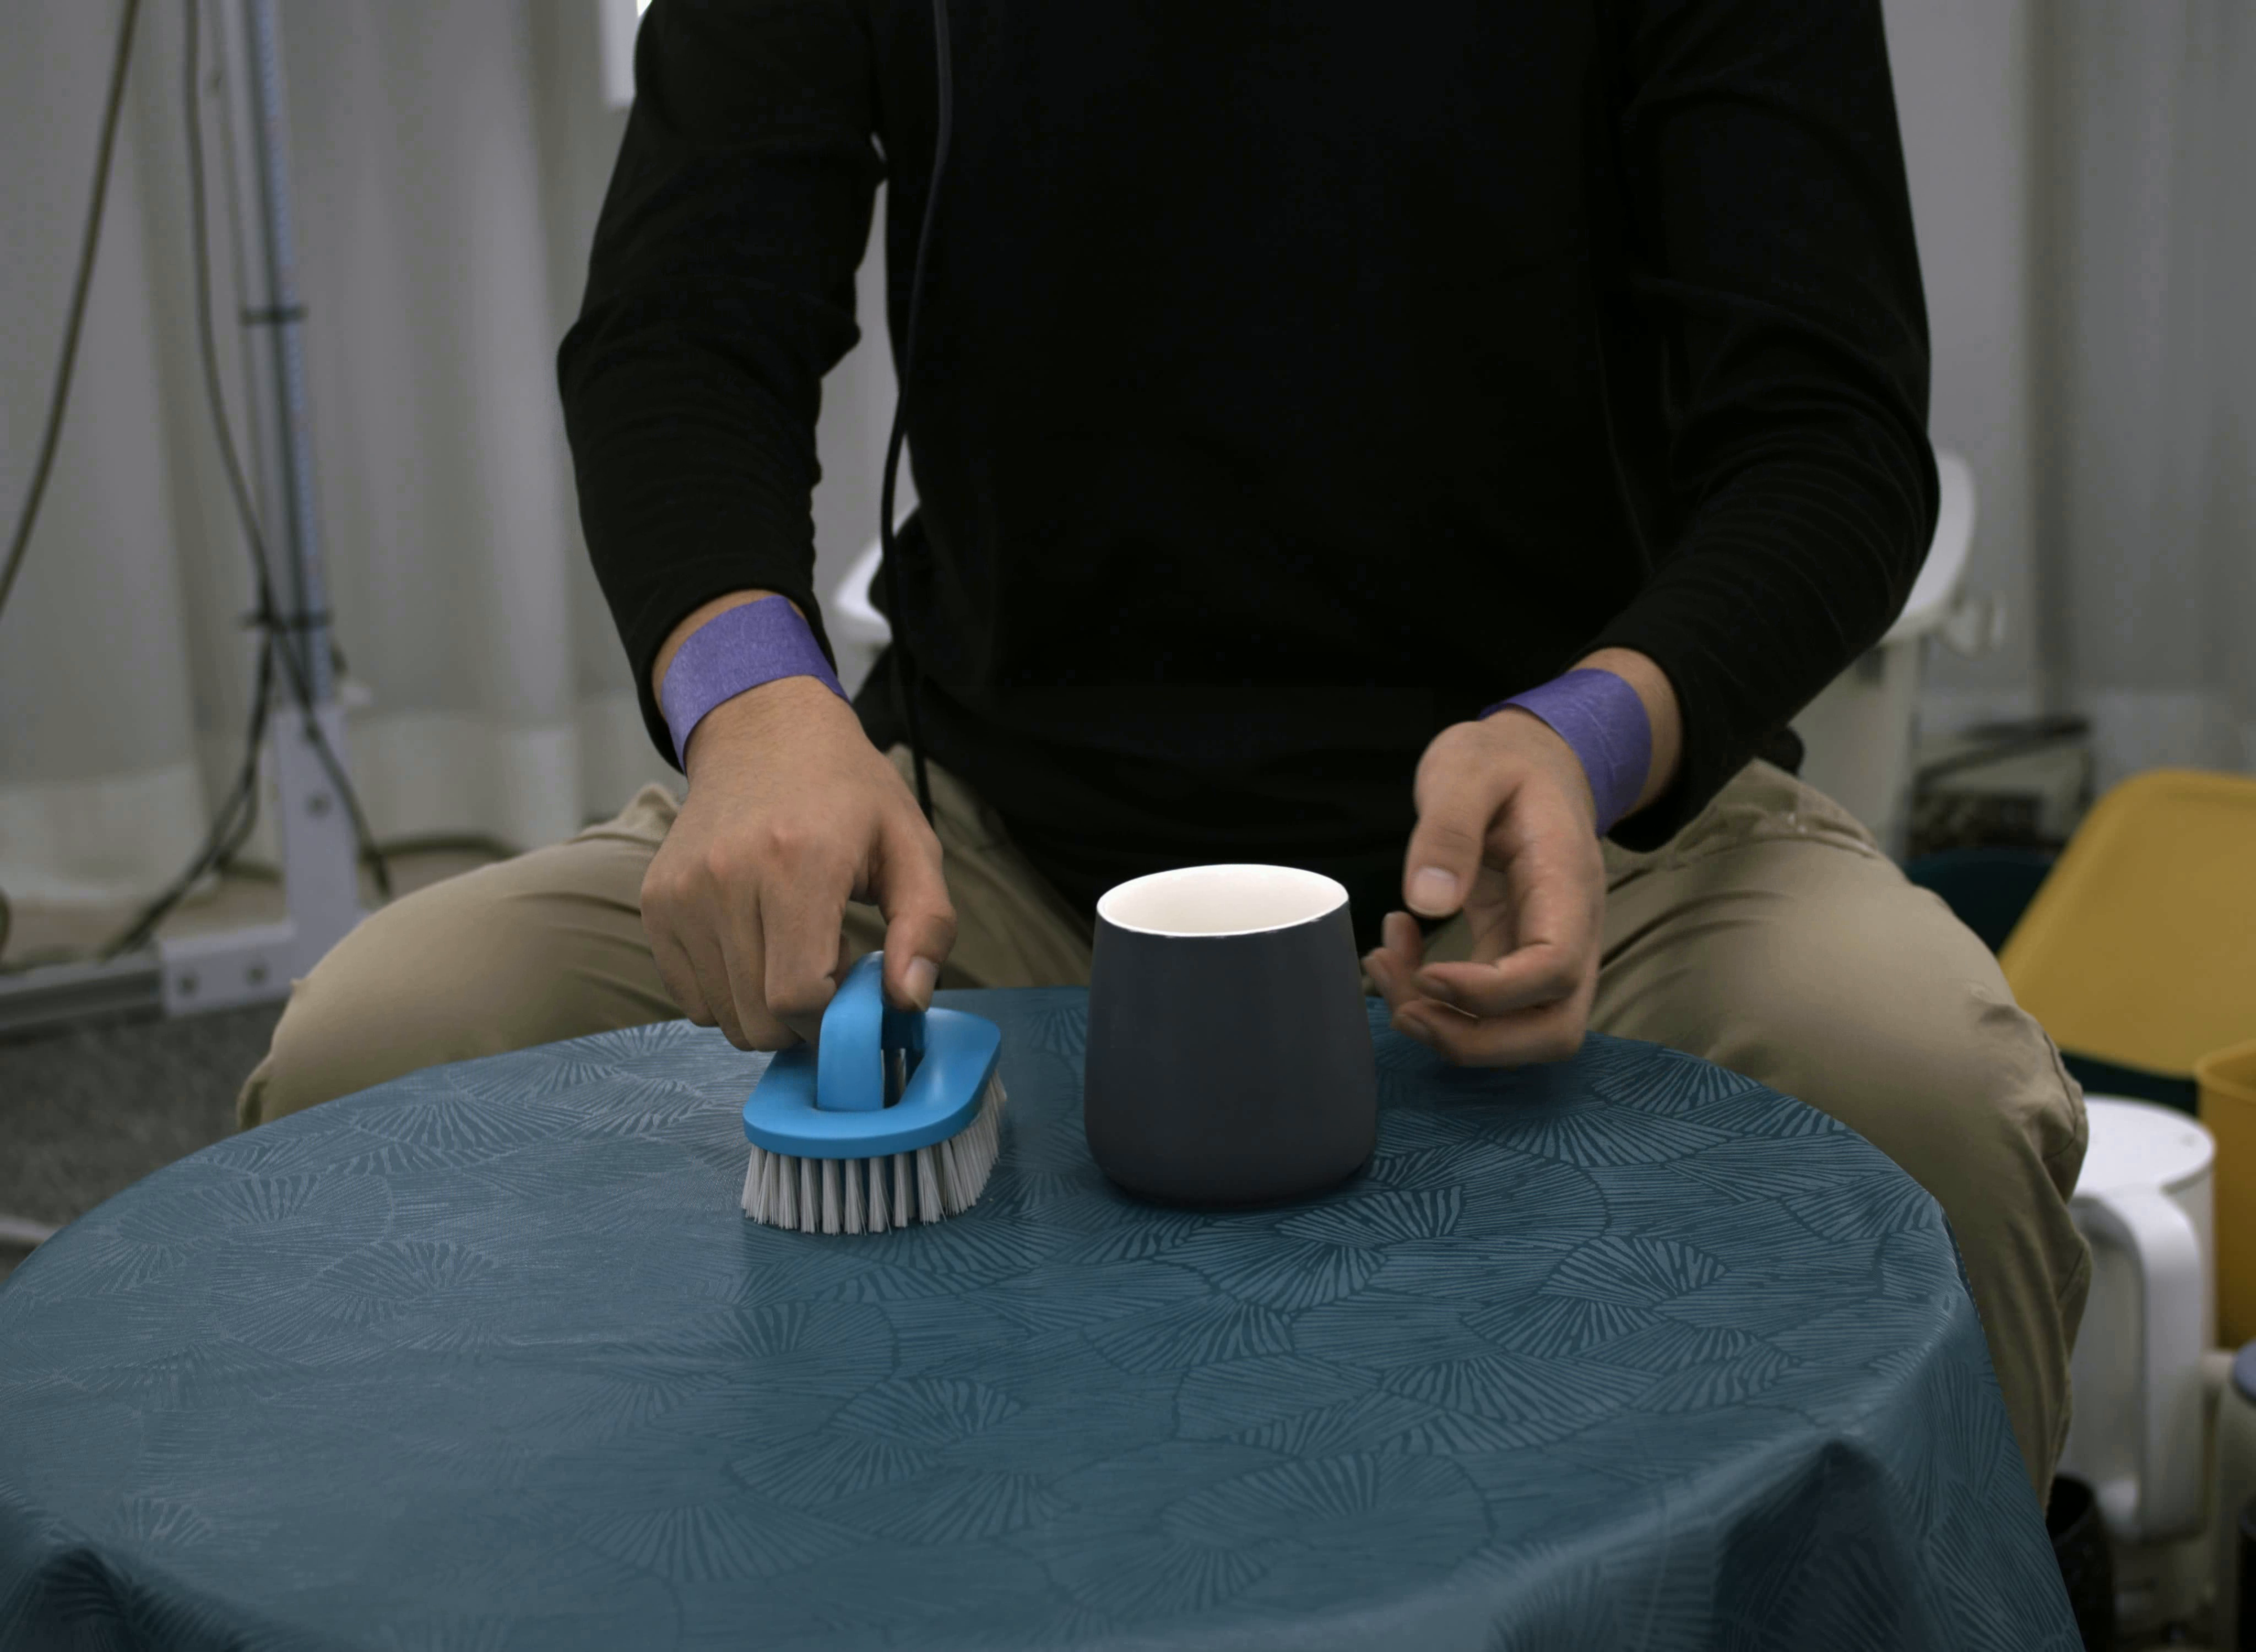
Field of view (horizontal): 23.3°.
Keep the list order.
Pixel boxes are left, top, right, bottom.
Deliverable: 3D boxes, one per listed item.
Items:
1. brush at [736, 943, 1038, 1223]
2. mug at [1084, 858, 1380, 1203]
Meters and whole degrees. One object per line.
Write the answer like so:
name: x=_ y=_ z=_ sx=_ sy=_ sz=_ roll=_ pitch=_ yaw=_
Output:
brush: x=-0.078 y=0.076 z=1.747 sx=0.084 sy=0.063 sz=0.142 roll=-5 pitch=13 yaw=10
mug: x=0.035 y=0.060 z=1.732 sx=0.093 sy=0.089 sz=0.124 roll=1 pitch=17 yaw=14
